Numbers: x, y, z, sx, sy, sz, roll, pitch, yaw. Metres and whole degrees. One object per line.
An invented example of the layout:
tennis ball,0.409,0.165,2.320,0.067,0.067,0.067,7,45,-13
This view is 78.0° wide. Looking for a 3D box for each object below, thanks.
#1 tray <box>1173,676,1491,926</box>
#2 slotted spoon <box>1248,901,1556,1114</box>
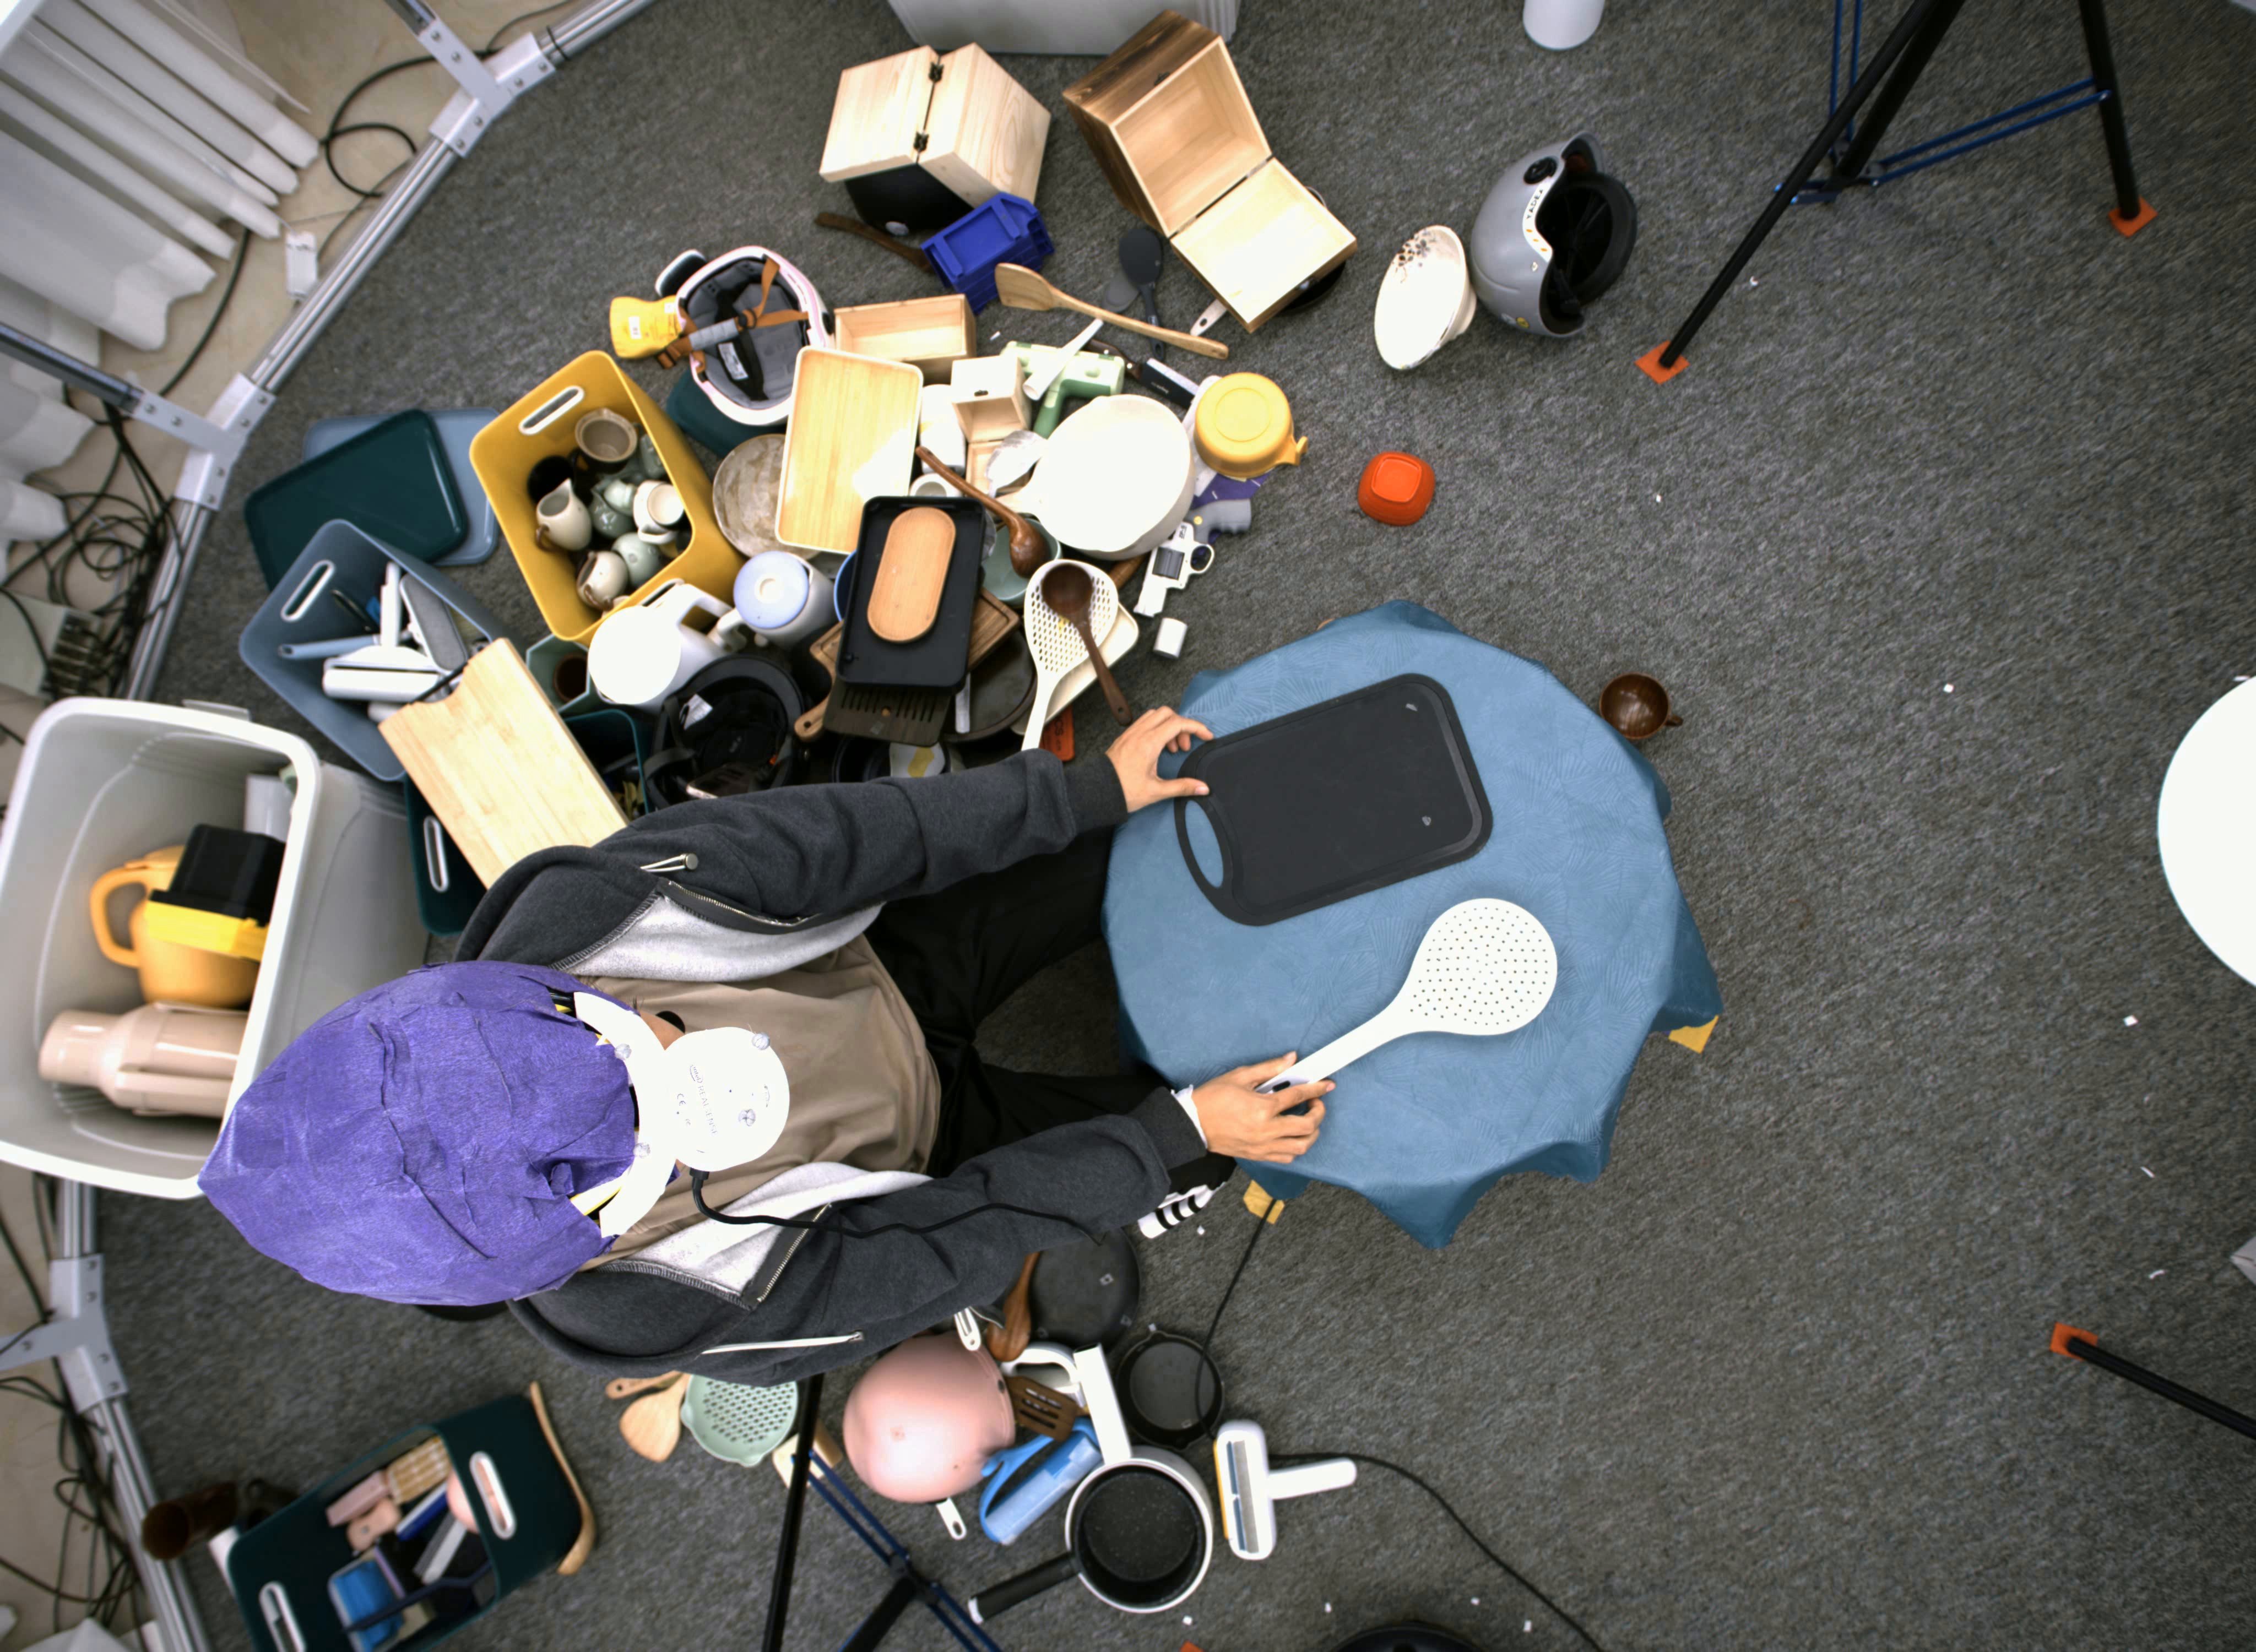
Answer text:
tray,0.210,-0.024,1.472,0.327,0.010,0.210,-19,84,9
slotted spoon,0.277,0.200,1.428,0.352,0.046,0.135,-32,82,8
